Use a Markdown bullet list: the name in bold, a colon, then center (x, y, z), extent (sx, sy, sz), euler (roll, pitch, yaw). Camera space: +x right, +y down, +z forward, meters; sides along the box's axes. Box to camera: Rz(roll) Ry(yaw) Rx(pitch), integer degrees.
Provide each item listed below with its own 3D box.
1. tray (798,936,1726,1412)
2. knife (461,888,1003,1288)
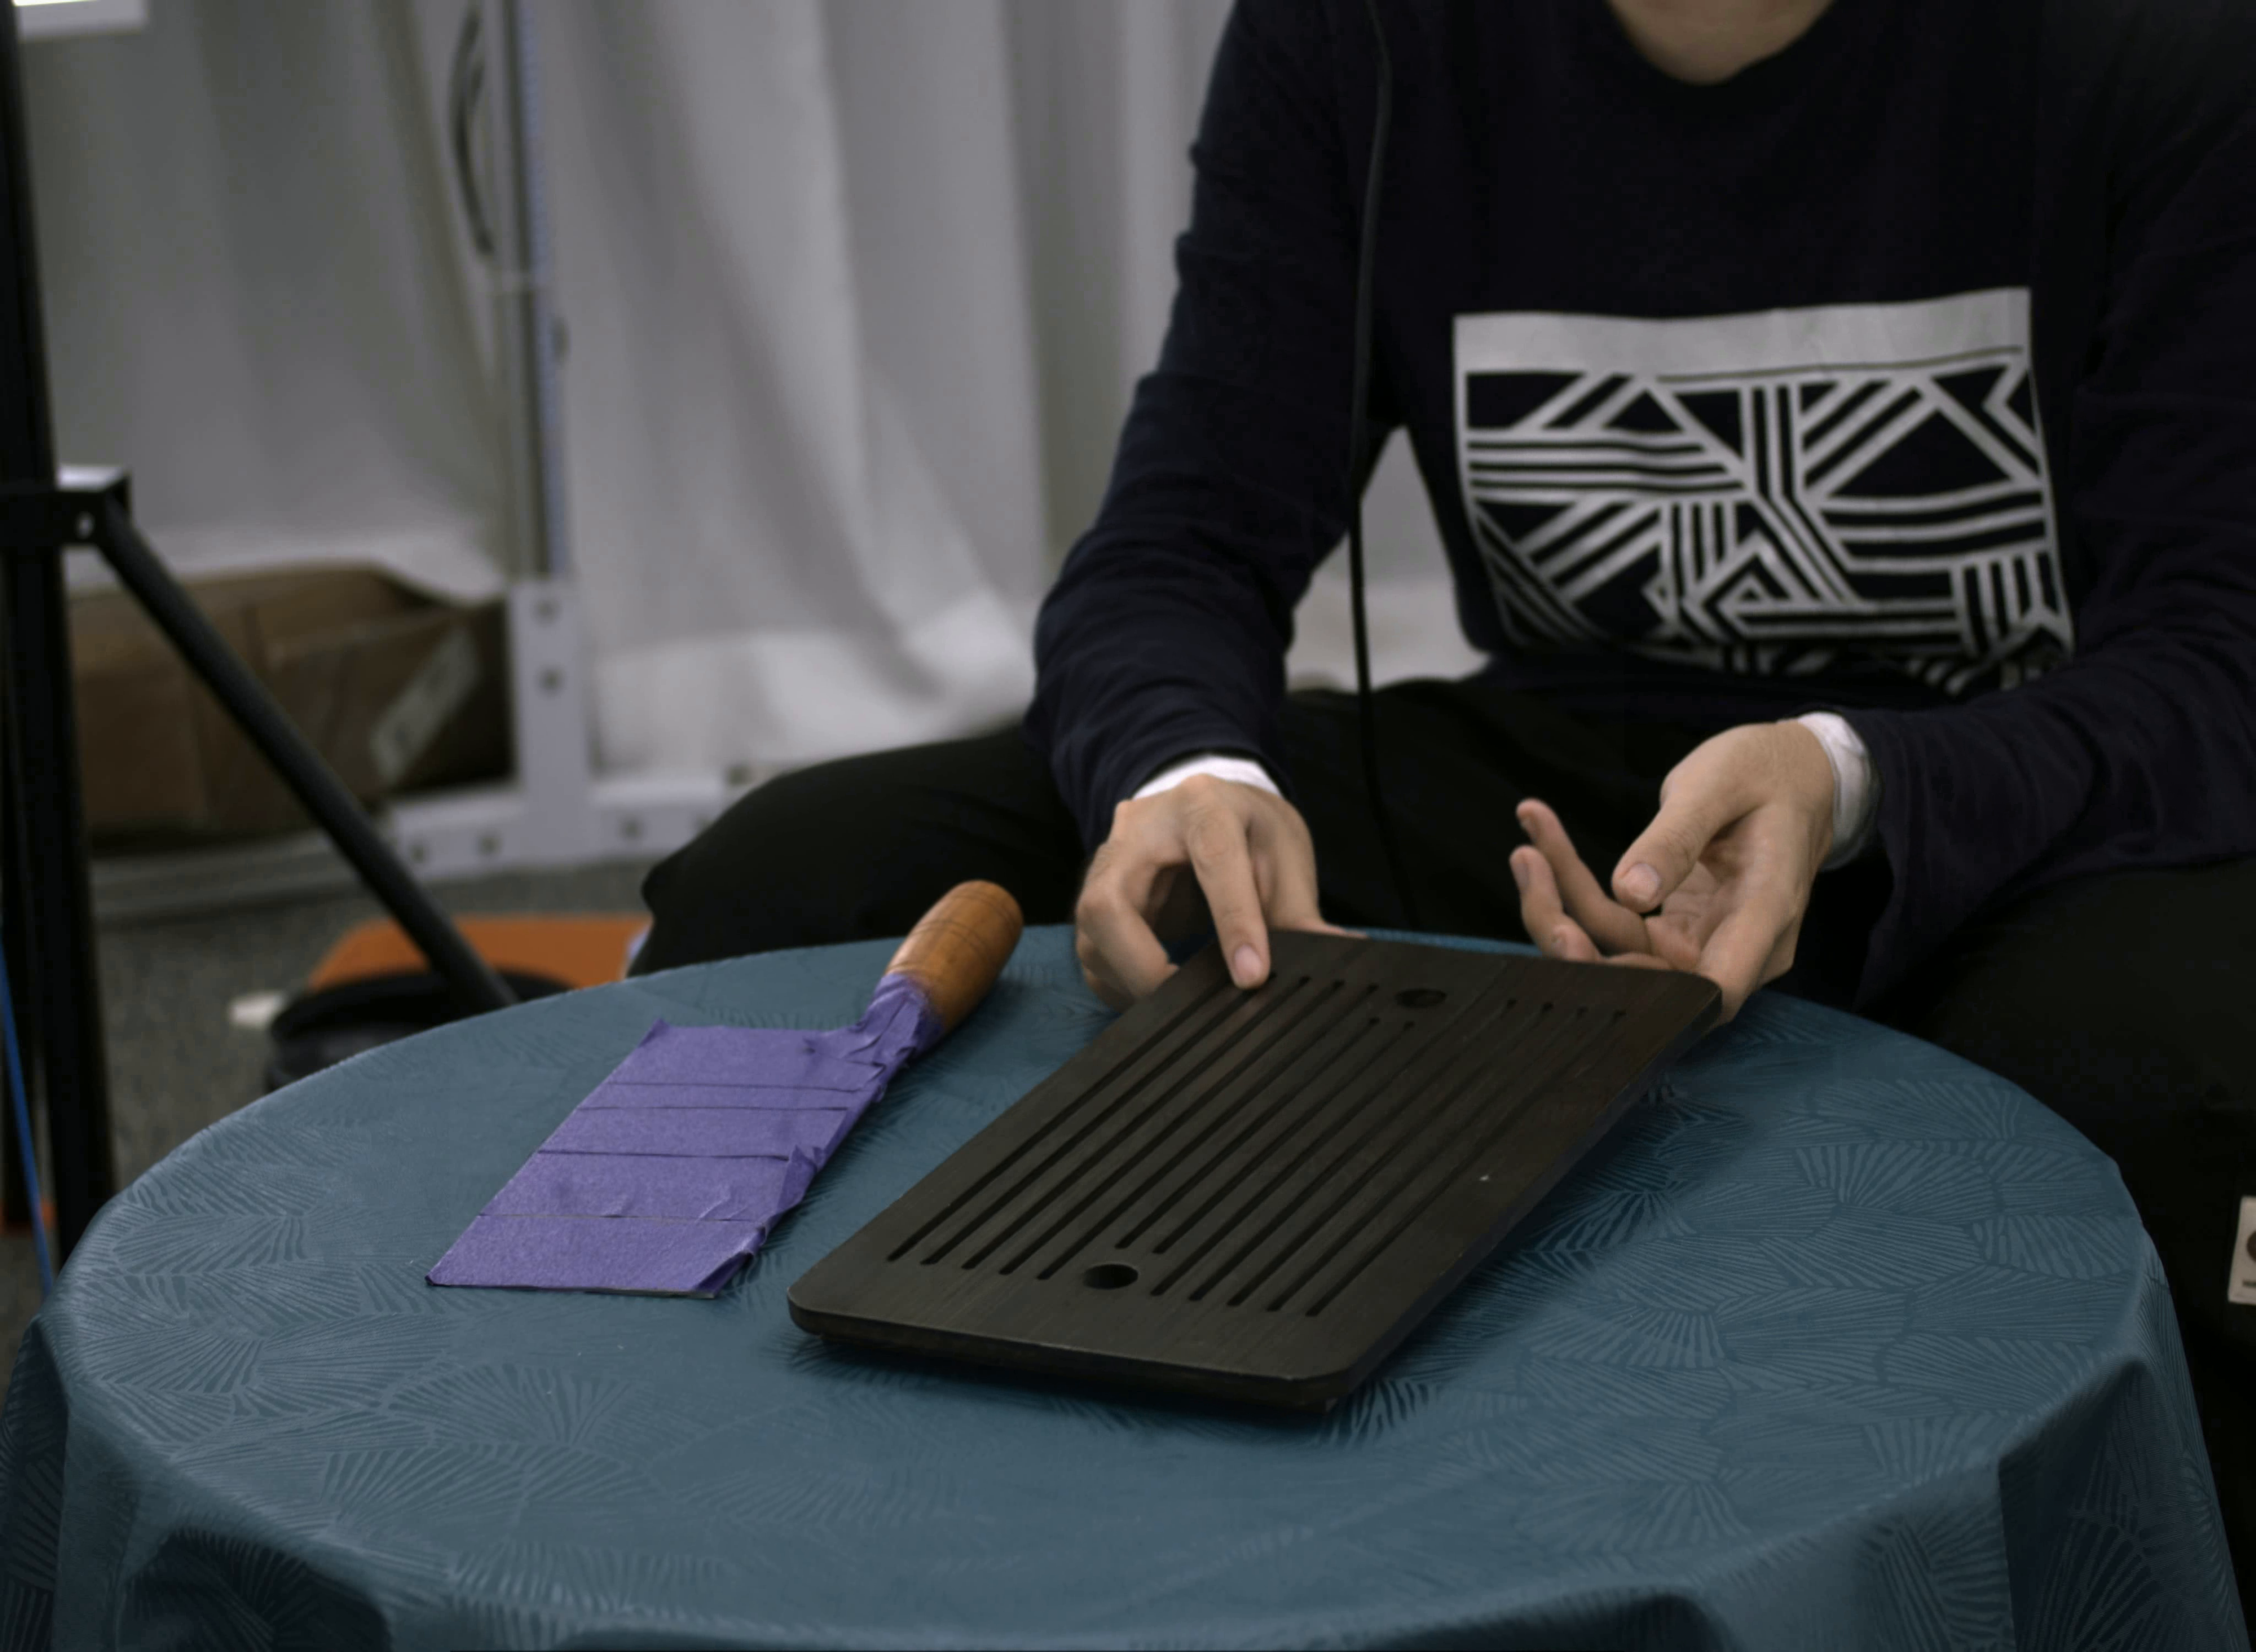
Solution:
- **tray**: center (0.047, 0.097, 1.531), extent (0.173, 0.018, 0.301), euler (5, 21, 26)
- **knife**: center (-0.119, 0.077, 1.639), extent (0.104, 0.032, 0.313), euler (2, 17, 14)
